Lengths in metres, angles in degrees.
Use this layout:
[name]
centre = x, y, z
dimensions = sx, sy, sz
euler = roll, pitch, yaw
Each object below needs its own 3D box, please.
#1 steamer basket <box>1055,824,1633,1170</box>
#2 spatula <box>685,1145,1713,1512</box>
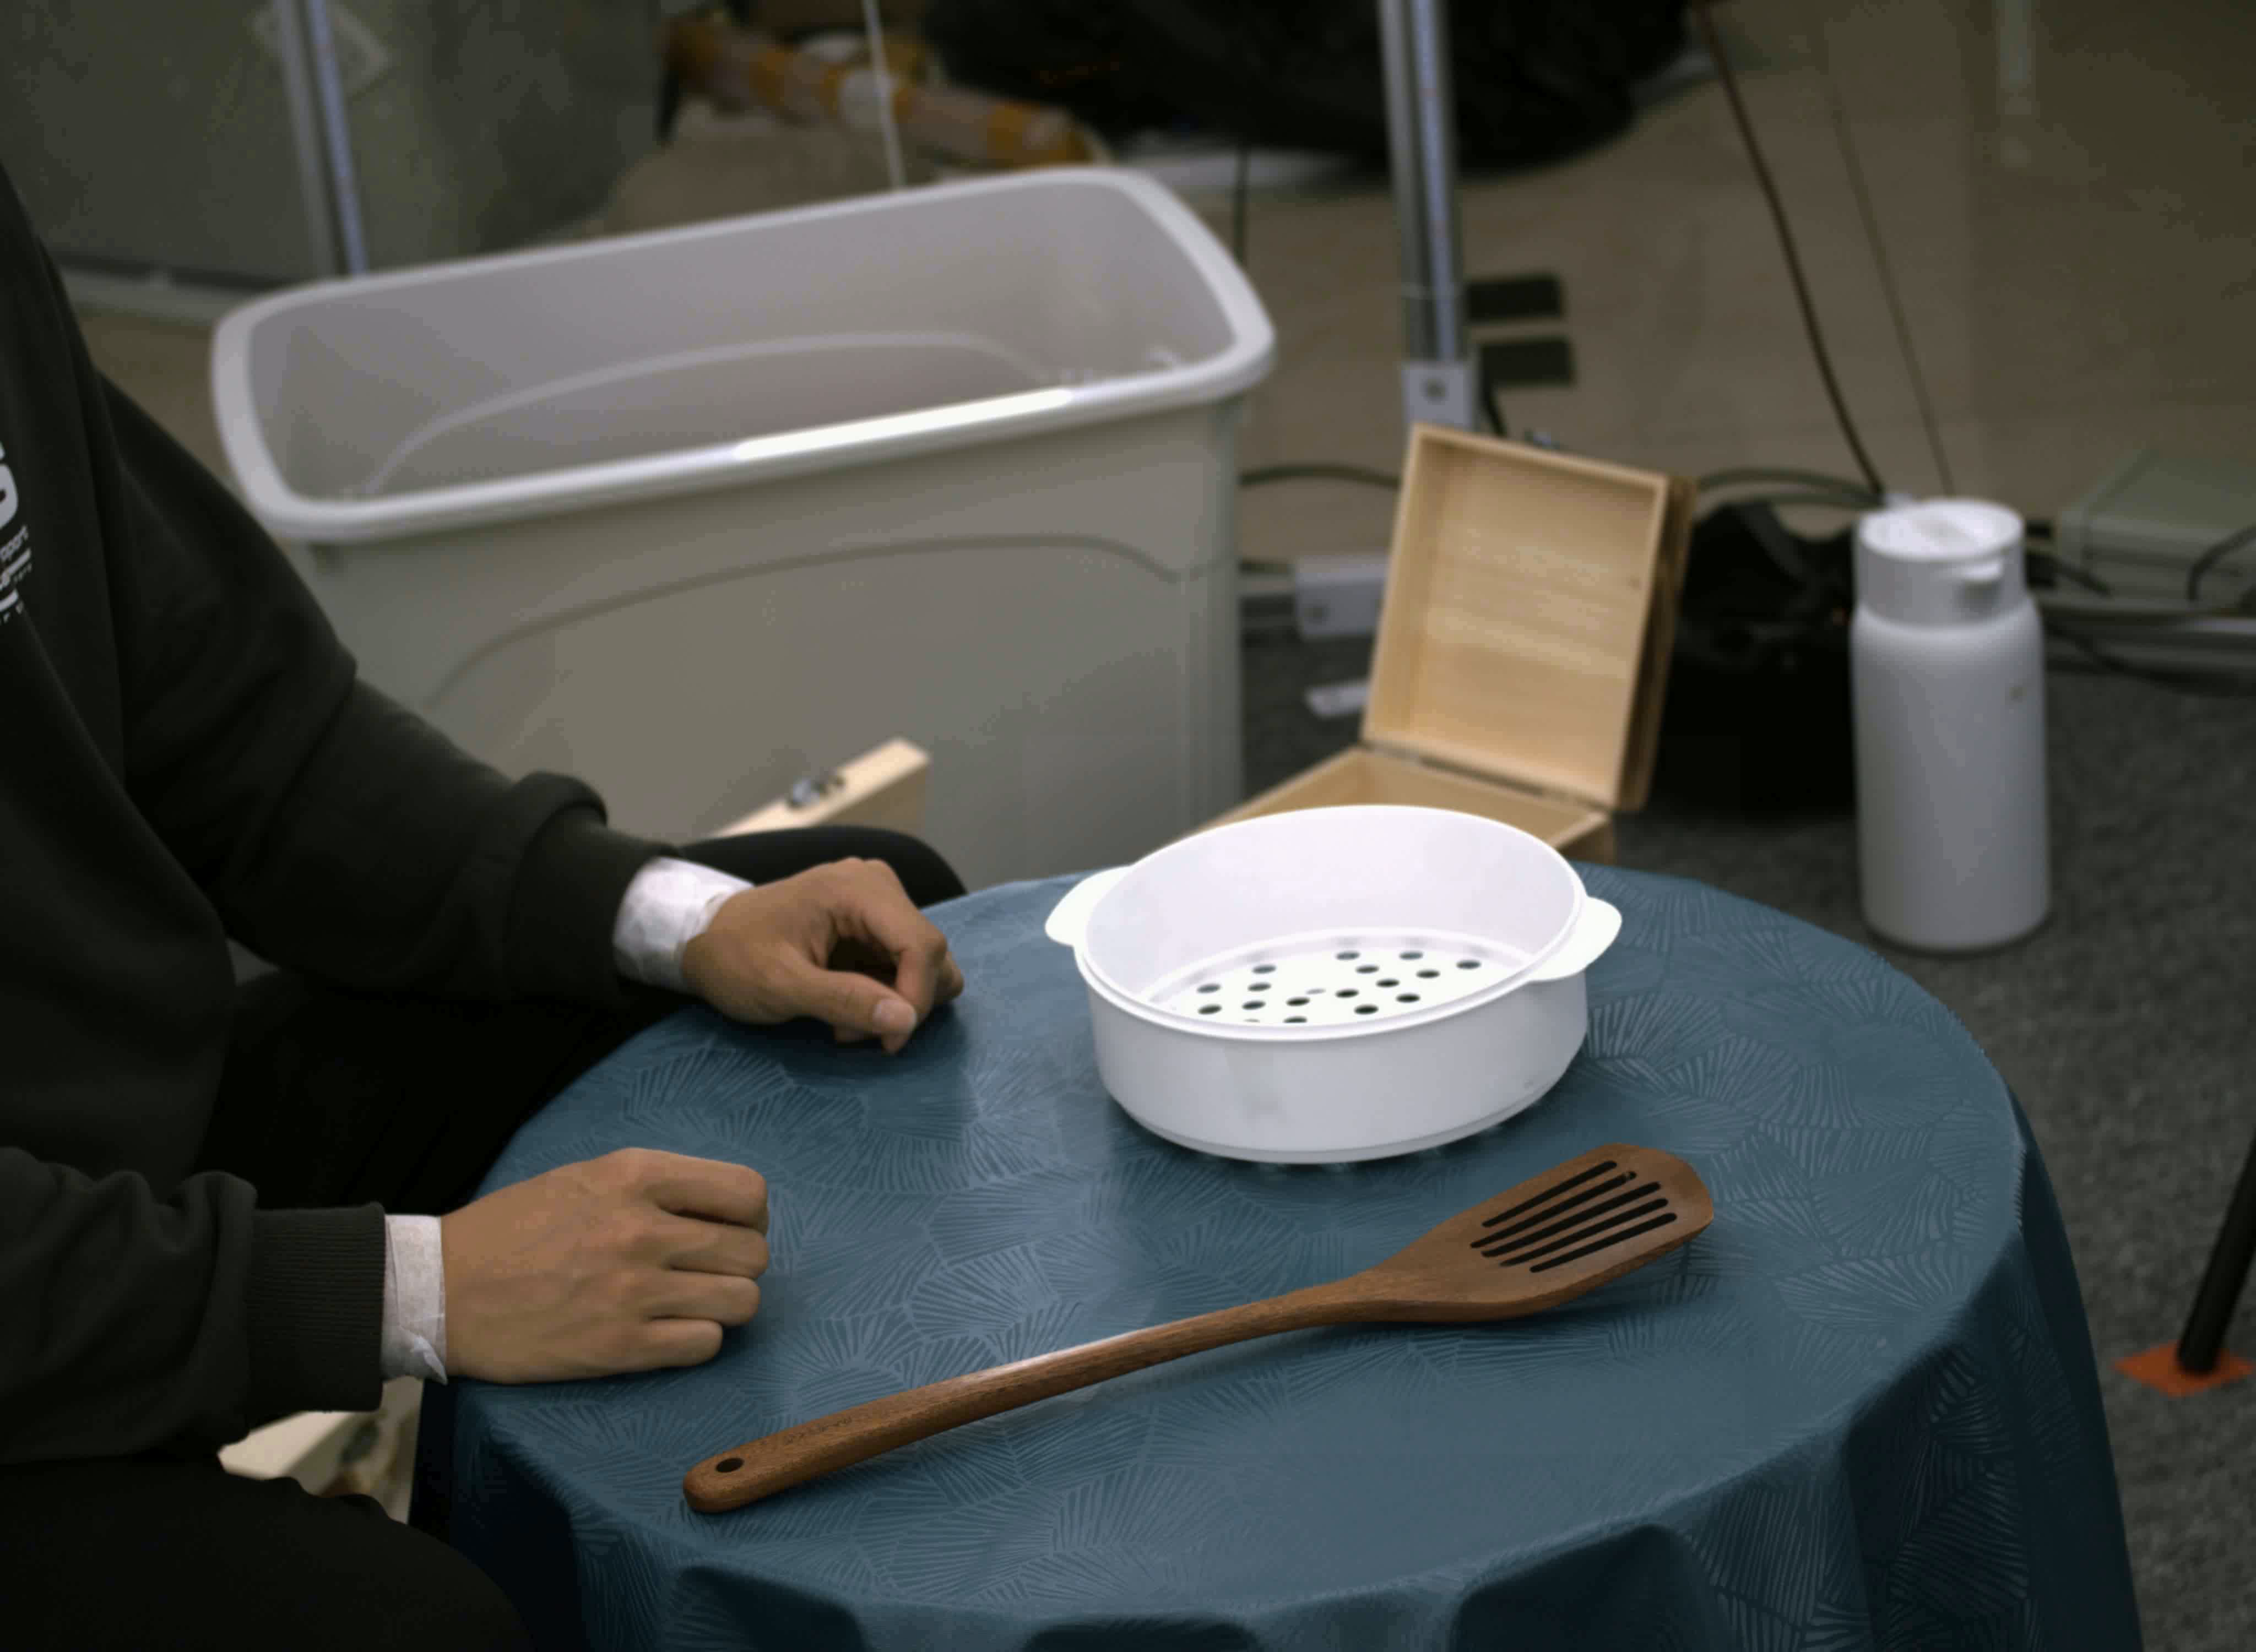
[steamer basket]
centre = 0.086, 0.066, 2.213
dimensions = 0.230, 0.070, 0.199
euler = 1, 23, 23
[spatula]
centre = 0.026, 0.185, 2.022
dimensions = 0.384, 0.024, 0.085
euler = -15, 23, -15
